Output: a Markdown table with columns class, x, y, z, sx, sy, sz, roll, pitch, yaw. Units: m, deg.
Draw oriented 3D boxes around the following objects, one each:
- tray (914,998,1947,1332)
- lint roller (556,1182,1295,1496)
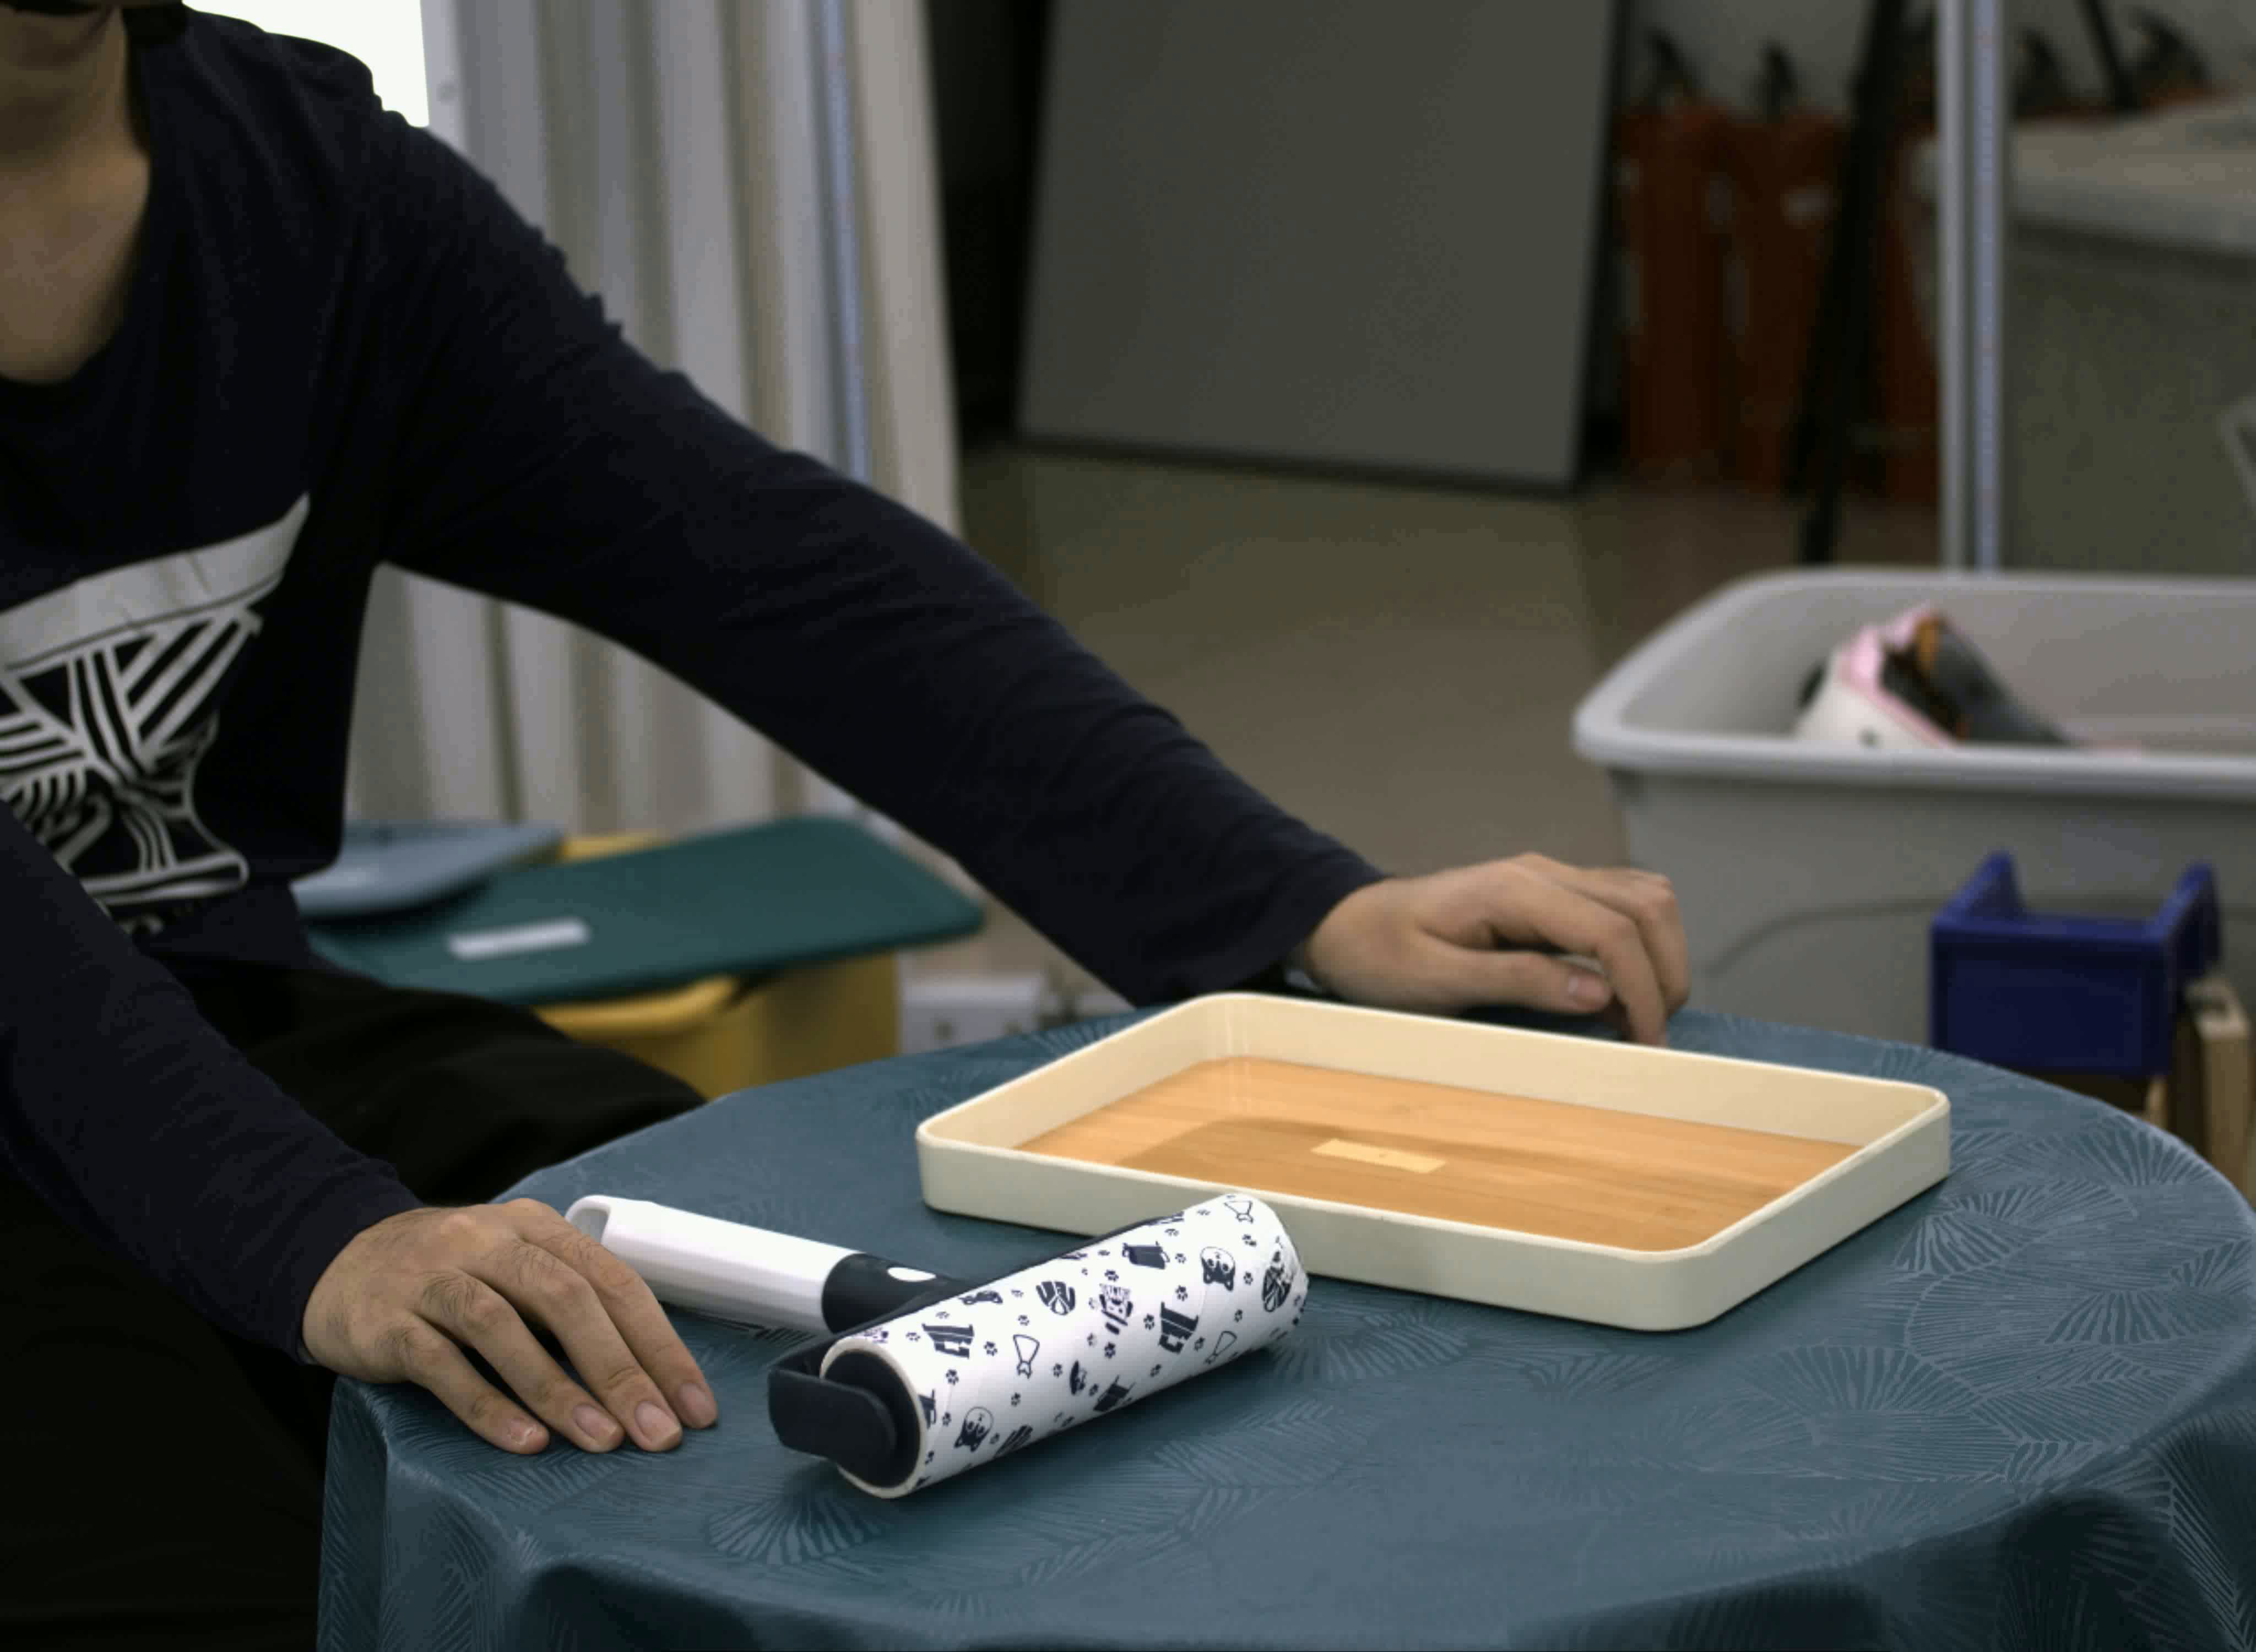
| class | x | y | z | sx | sy | sz | roll | pitch | yaw |
| --- | --- | --- | --- | --- | --- | --- | --- | --- | --- |
| tray | 0.097 | 0.106 | 1.750 | 0.302 | 0.028 | 0.188 | 6 | 17 | 37 |
| lint roller | -0.092 | 0.140 | 1.634 | 0.249 | 0.051 | 0.173 | 6 | 18 | 44 |
